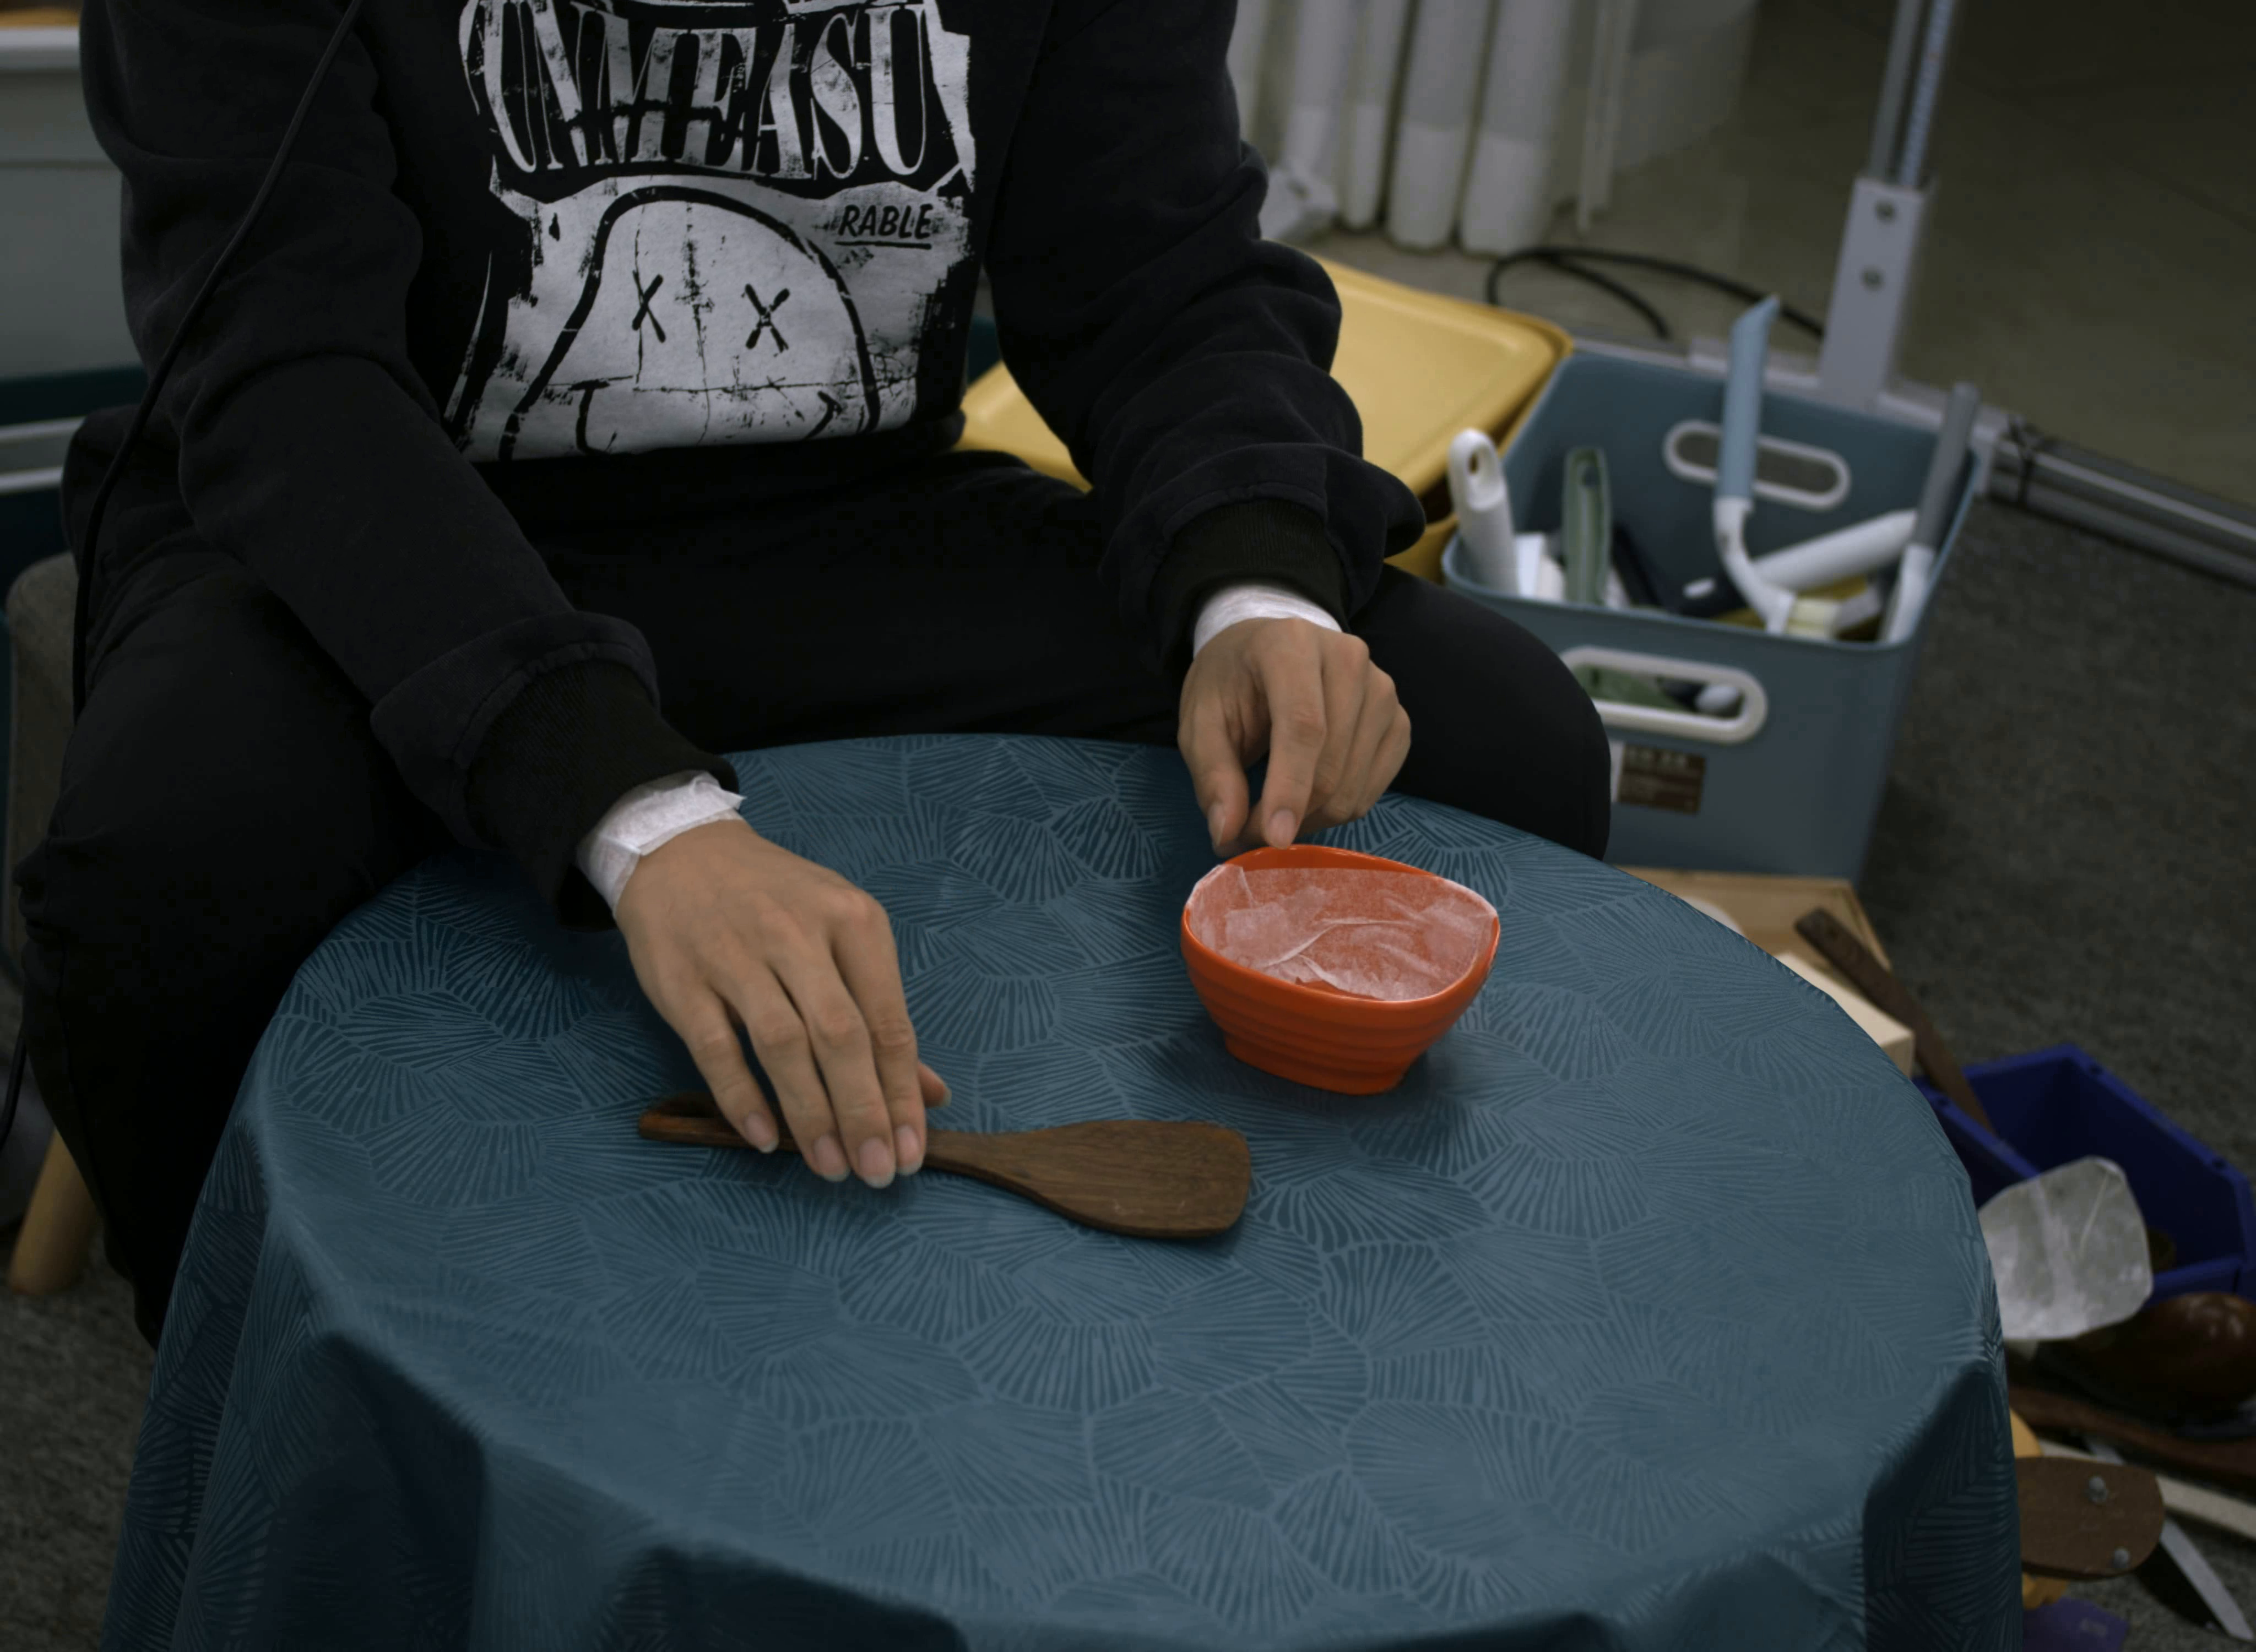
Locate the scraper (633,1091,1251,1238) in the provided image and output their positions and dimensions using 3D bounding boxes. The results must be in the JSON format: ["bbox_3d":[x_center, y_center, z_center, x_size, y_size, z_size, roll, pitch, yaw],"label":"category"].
[{"bbox_3d":[-0.063,0.110,1.804,0.211,0.011,0.076,7,26,2],"label":"scraper"}]

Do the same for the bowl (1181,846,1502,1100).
[{"bbox_3d":[0.074,0.056,1.896,0.118,0.051,0.119,5,28,-3],"label":"bowl"}]
